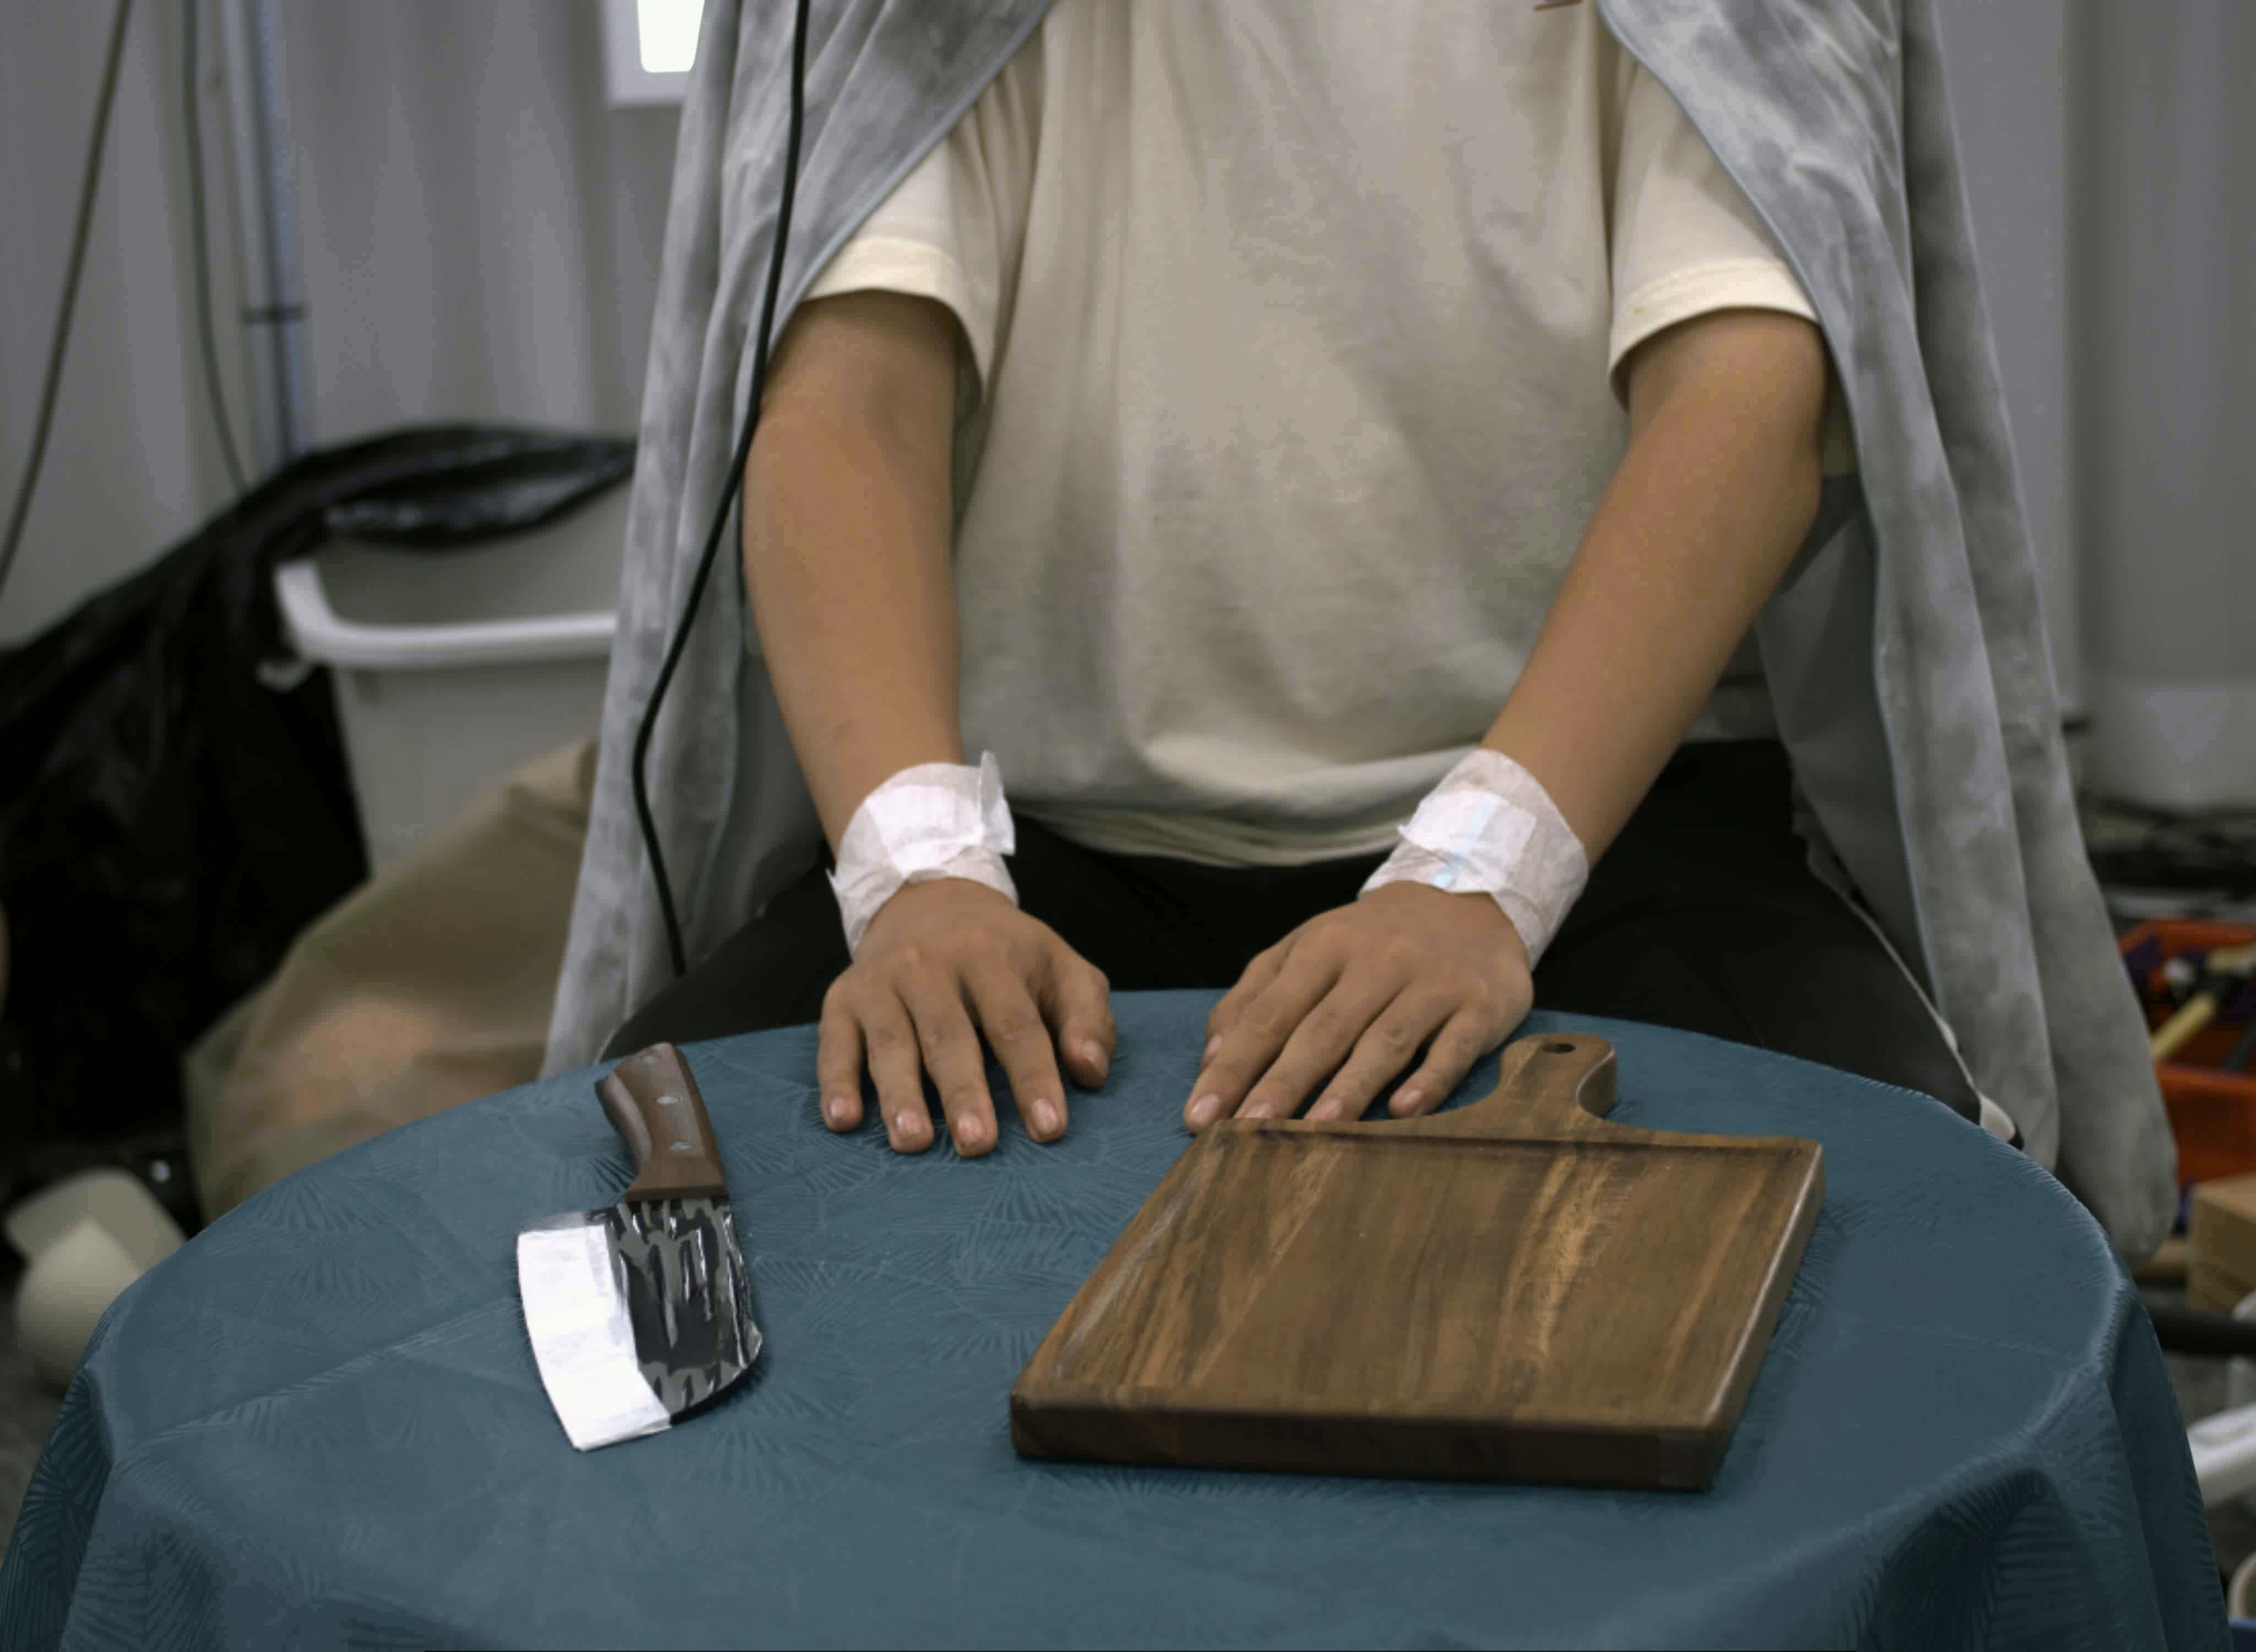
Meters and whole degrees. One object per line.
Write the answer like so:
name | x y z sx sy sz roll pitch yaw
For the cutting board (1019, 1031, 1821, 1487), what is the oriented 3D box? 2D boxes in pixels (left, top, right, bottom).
cutting board | 0.102 0.121 1.634 0.201 0.023 0.353 1 15 14

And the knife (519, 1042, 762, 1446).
knife | -0.151 0.127 1.667 0.068 0.024 0.302 -7 18 -6
